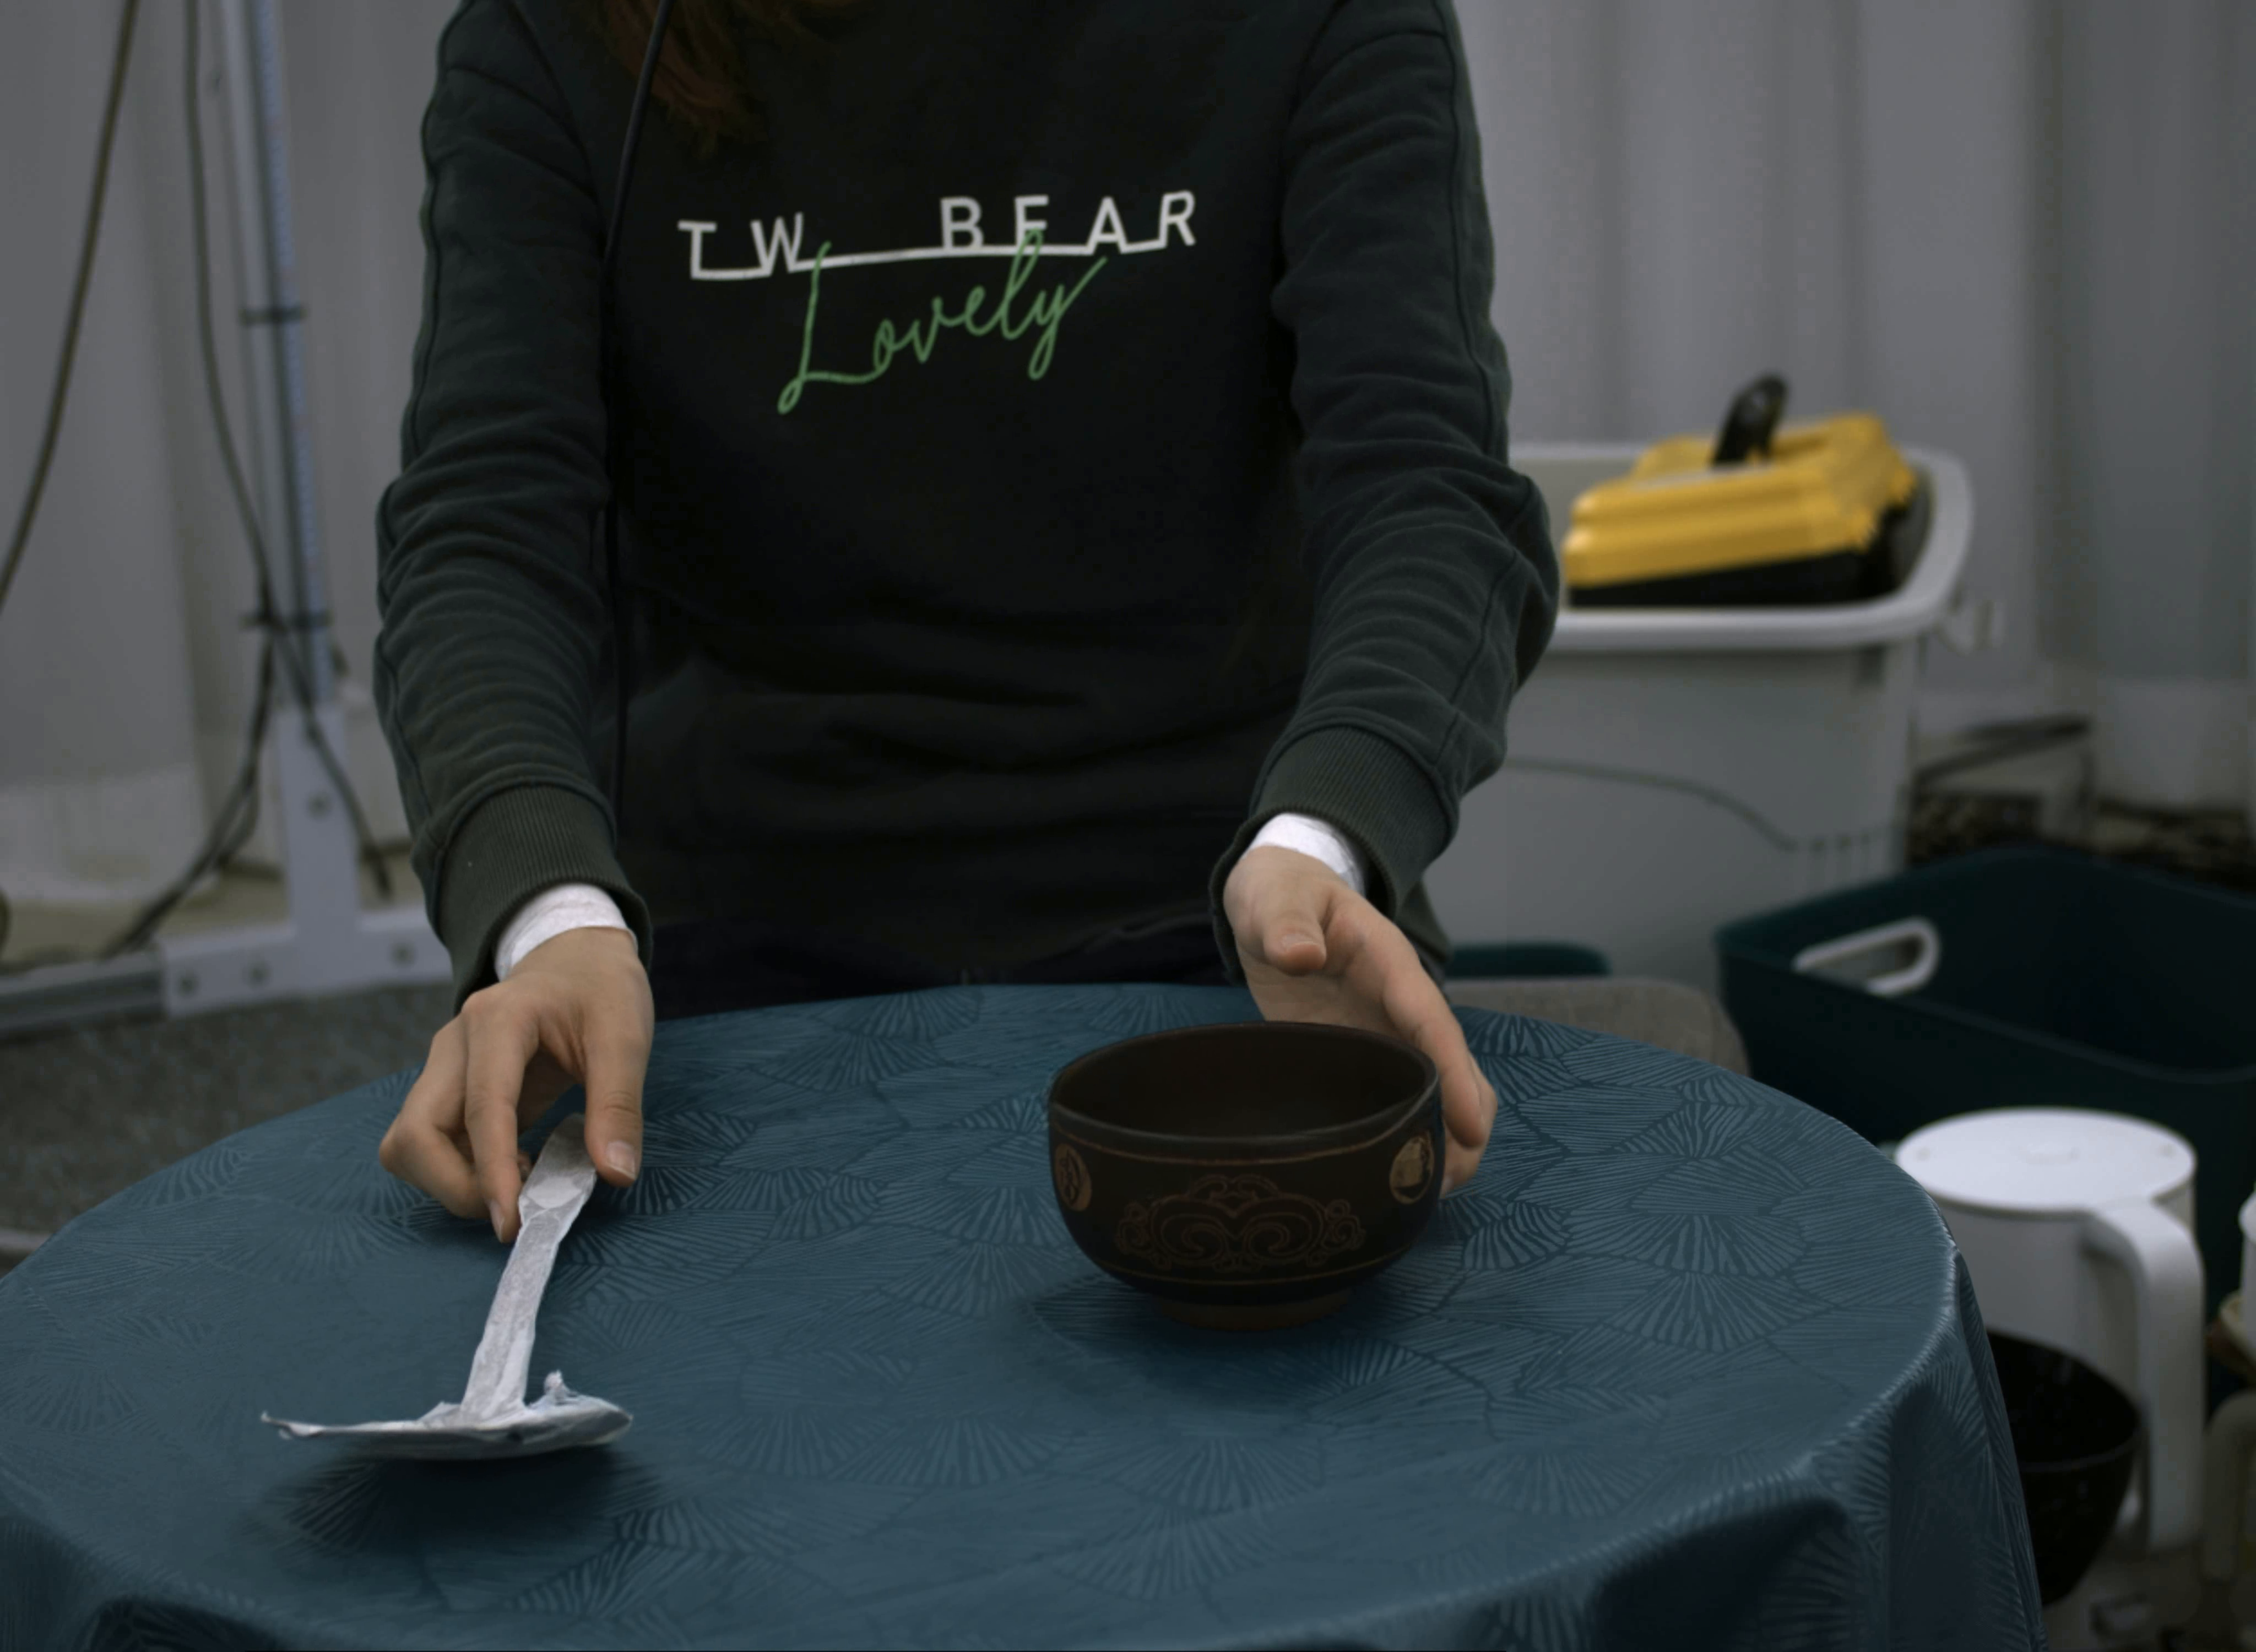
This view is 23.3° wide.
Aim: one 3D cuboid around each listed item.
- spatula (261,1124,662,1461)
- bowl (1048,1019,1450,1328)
[{"bbox_3d":[-0.175,0.129,1.620,0.098,0.044,0.367,-4,15,4],"label":"spatula"},{"bbox_3d":[0.036,0.106,1.605,0.117,0.069,0.119,-1,14,0],"label":"bowl"}]
